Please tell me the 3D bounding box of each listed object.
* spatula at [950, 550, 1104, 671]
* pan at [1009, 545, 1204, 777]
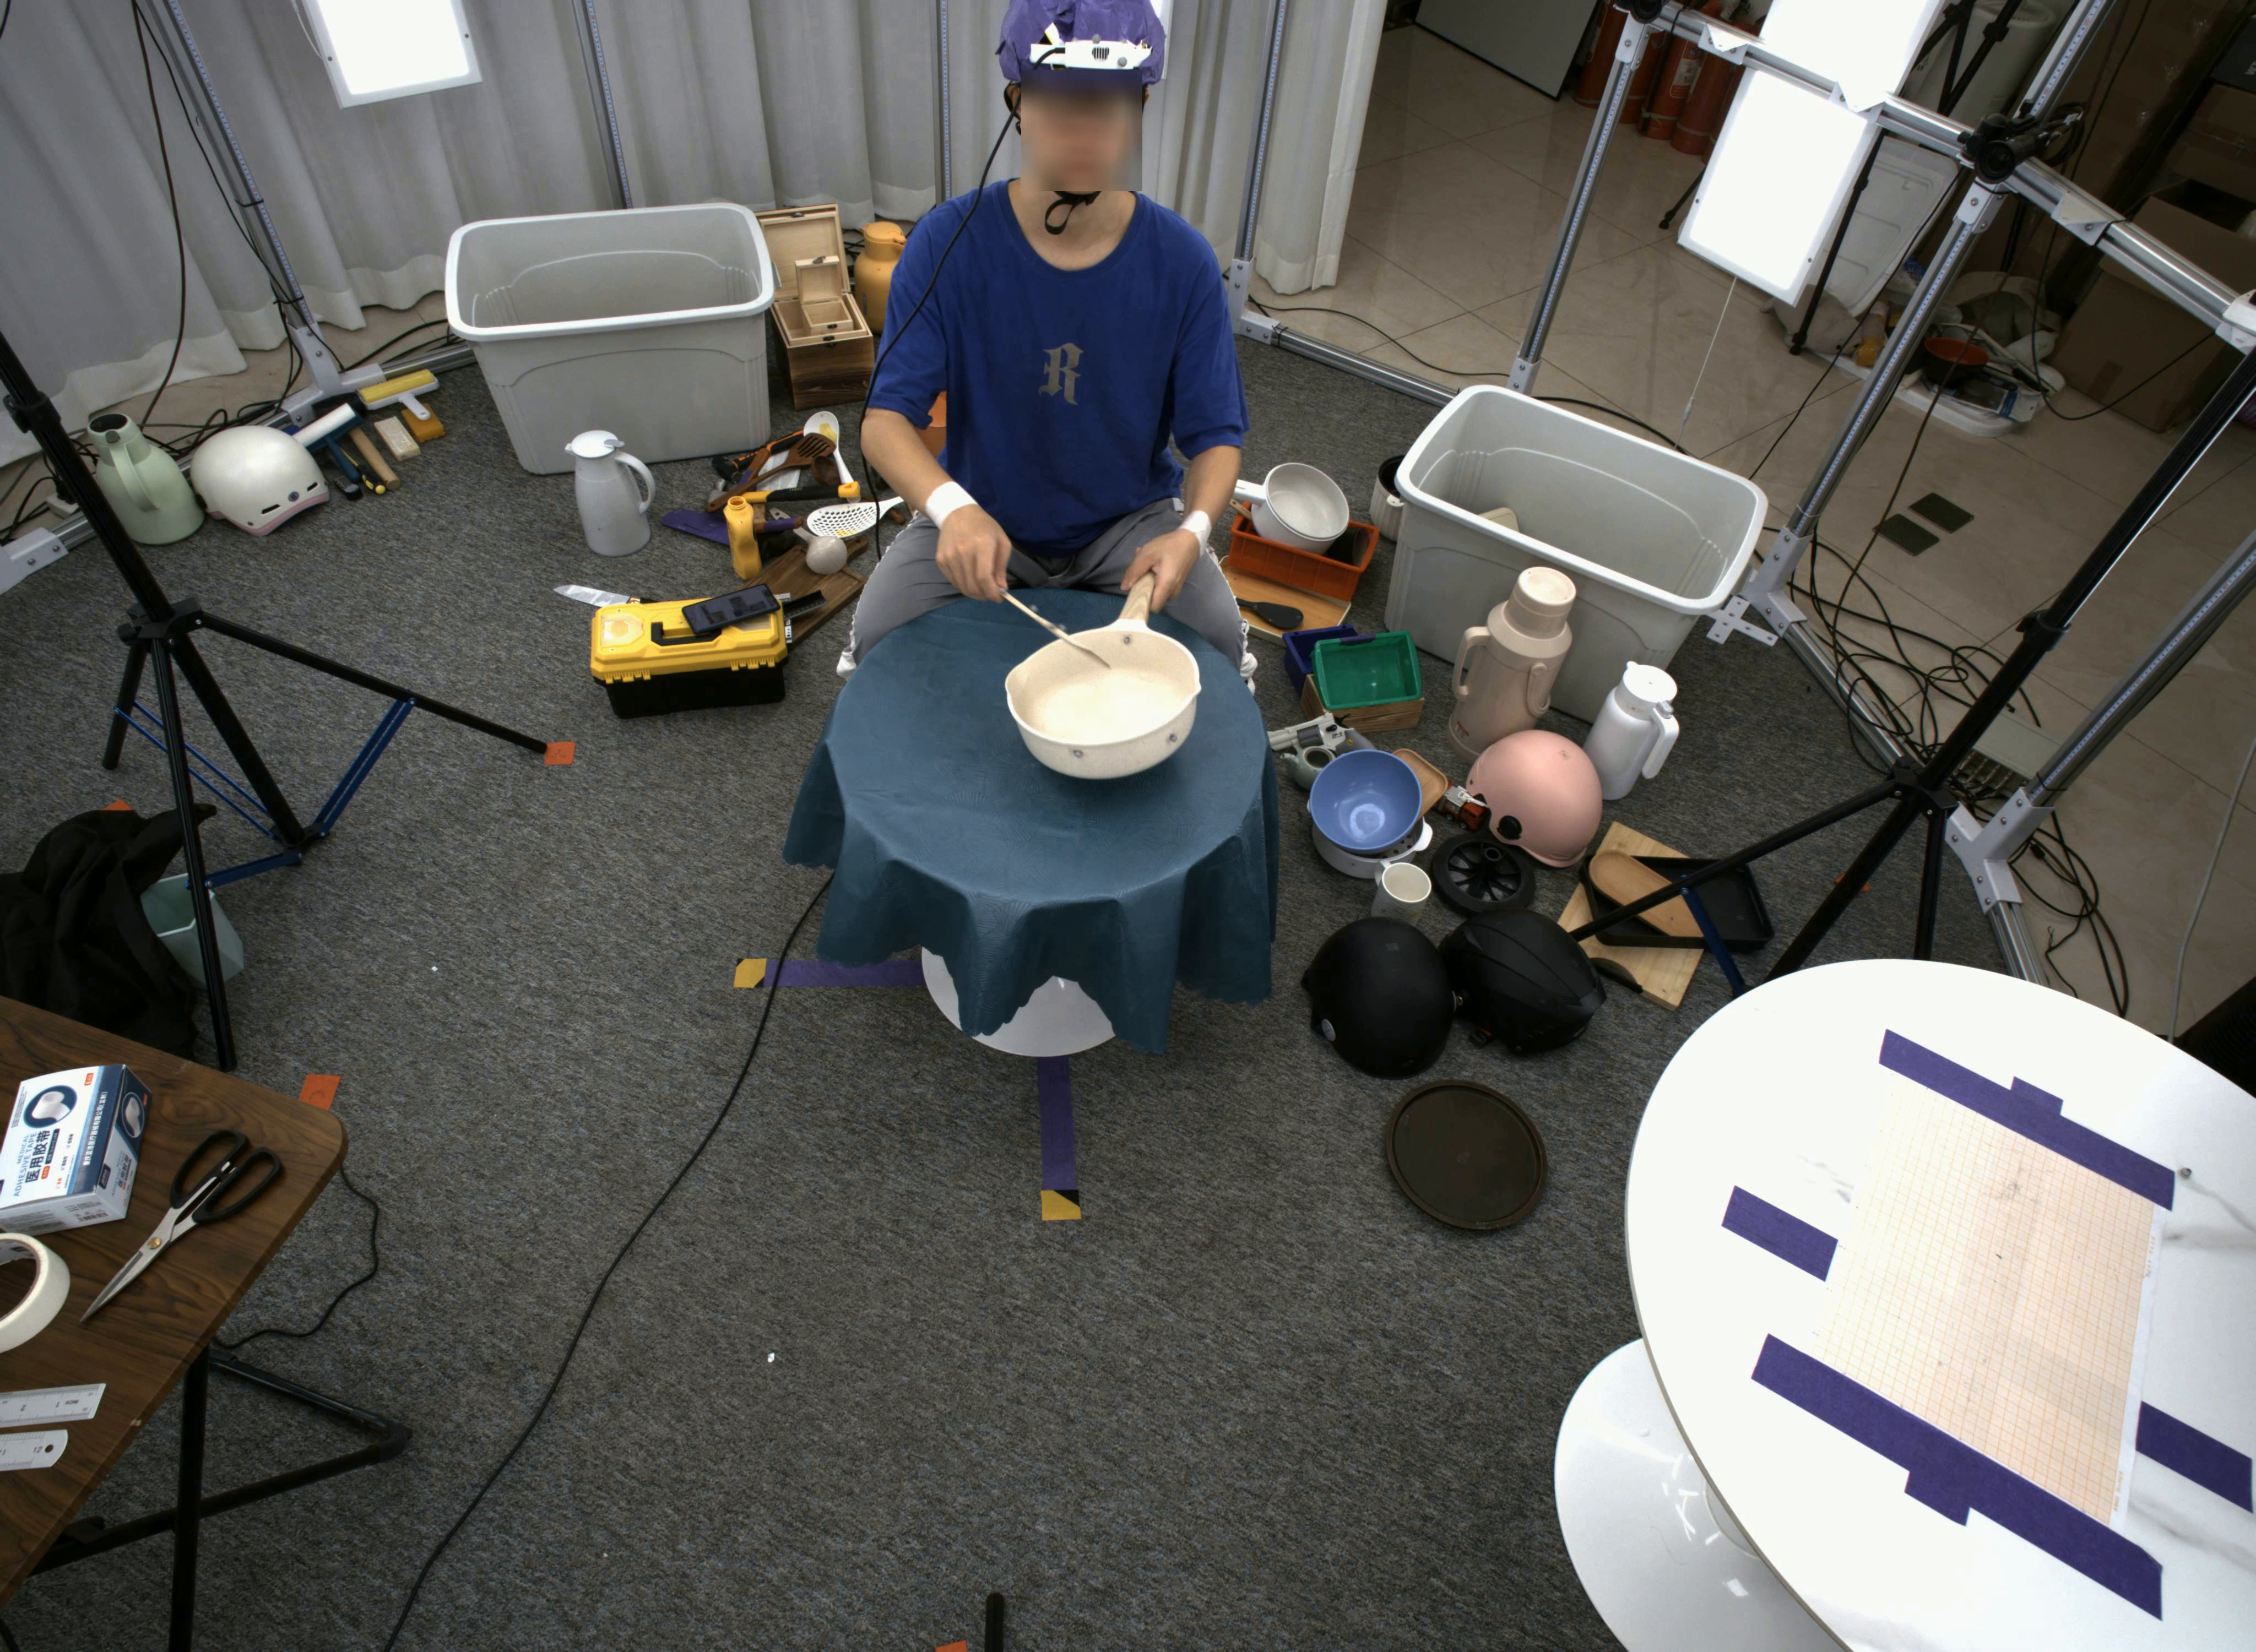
[{"bbox_3d":[-0.140,-0.285,1.659,0.298,0.071,0.010,41,93,32],"label":"spatula"},{"bbox_3d":[-0.002,-0.227,1.756,0.264,0.099,0.444,2,42,17],"label":"pan"}]
